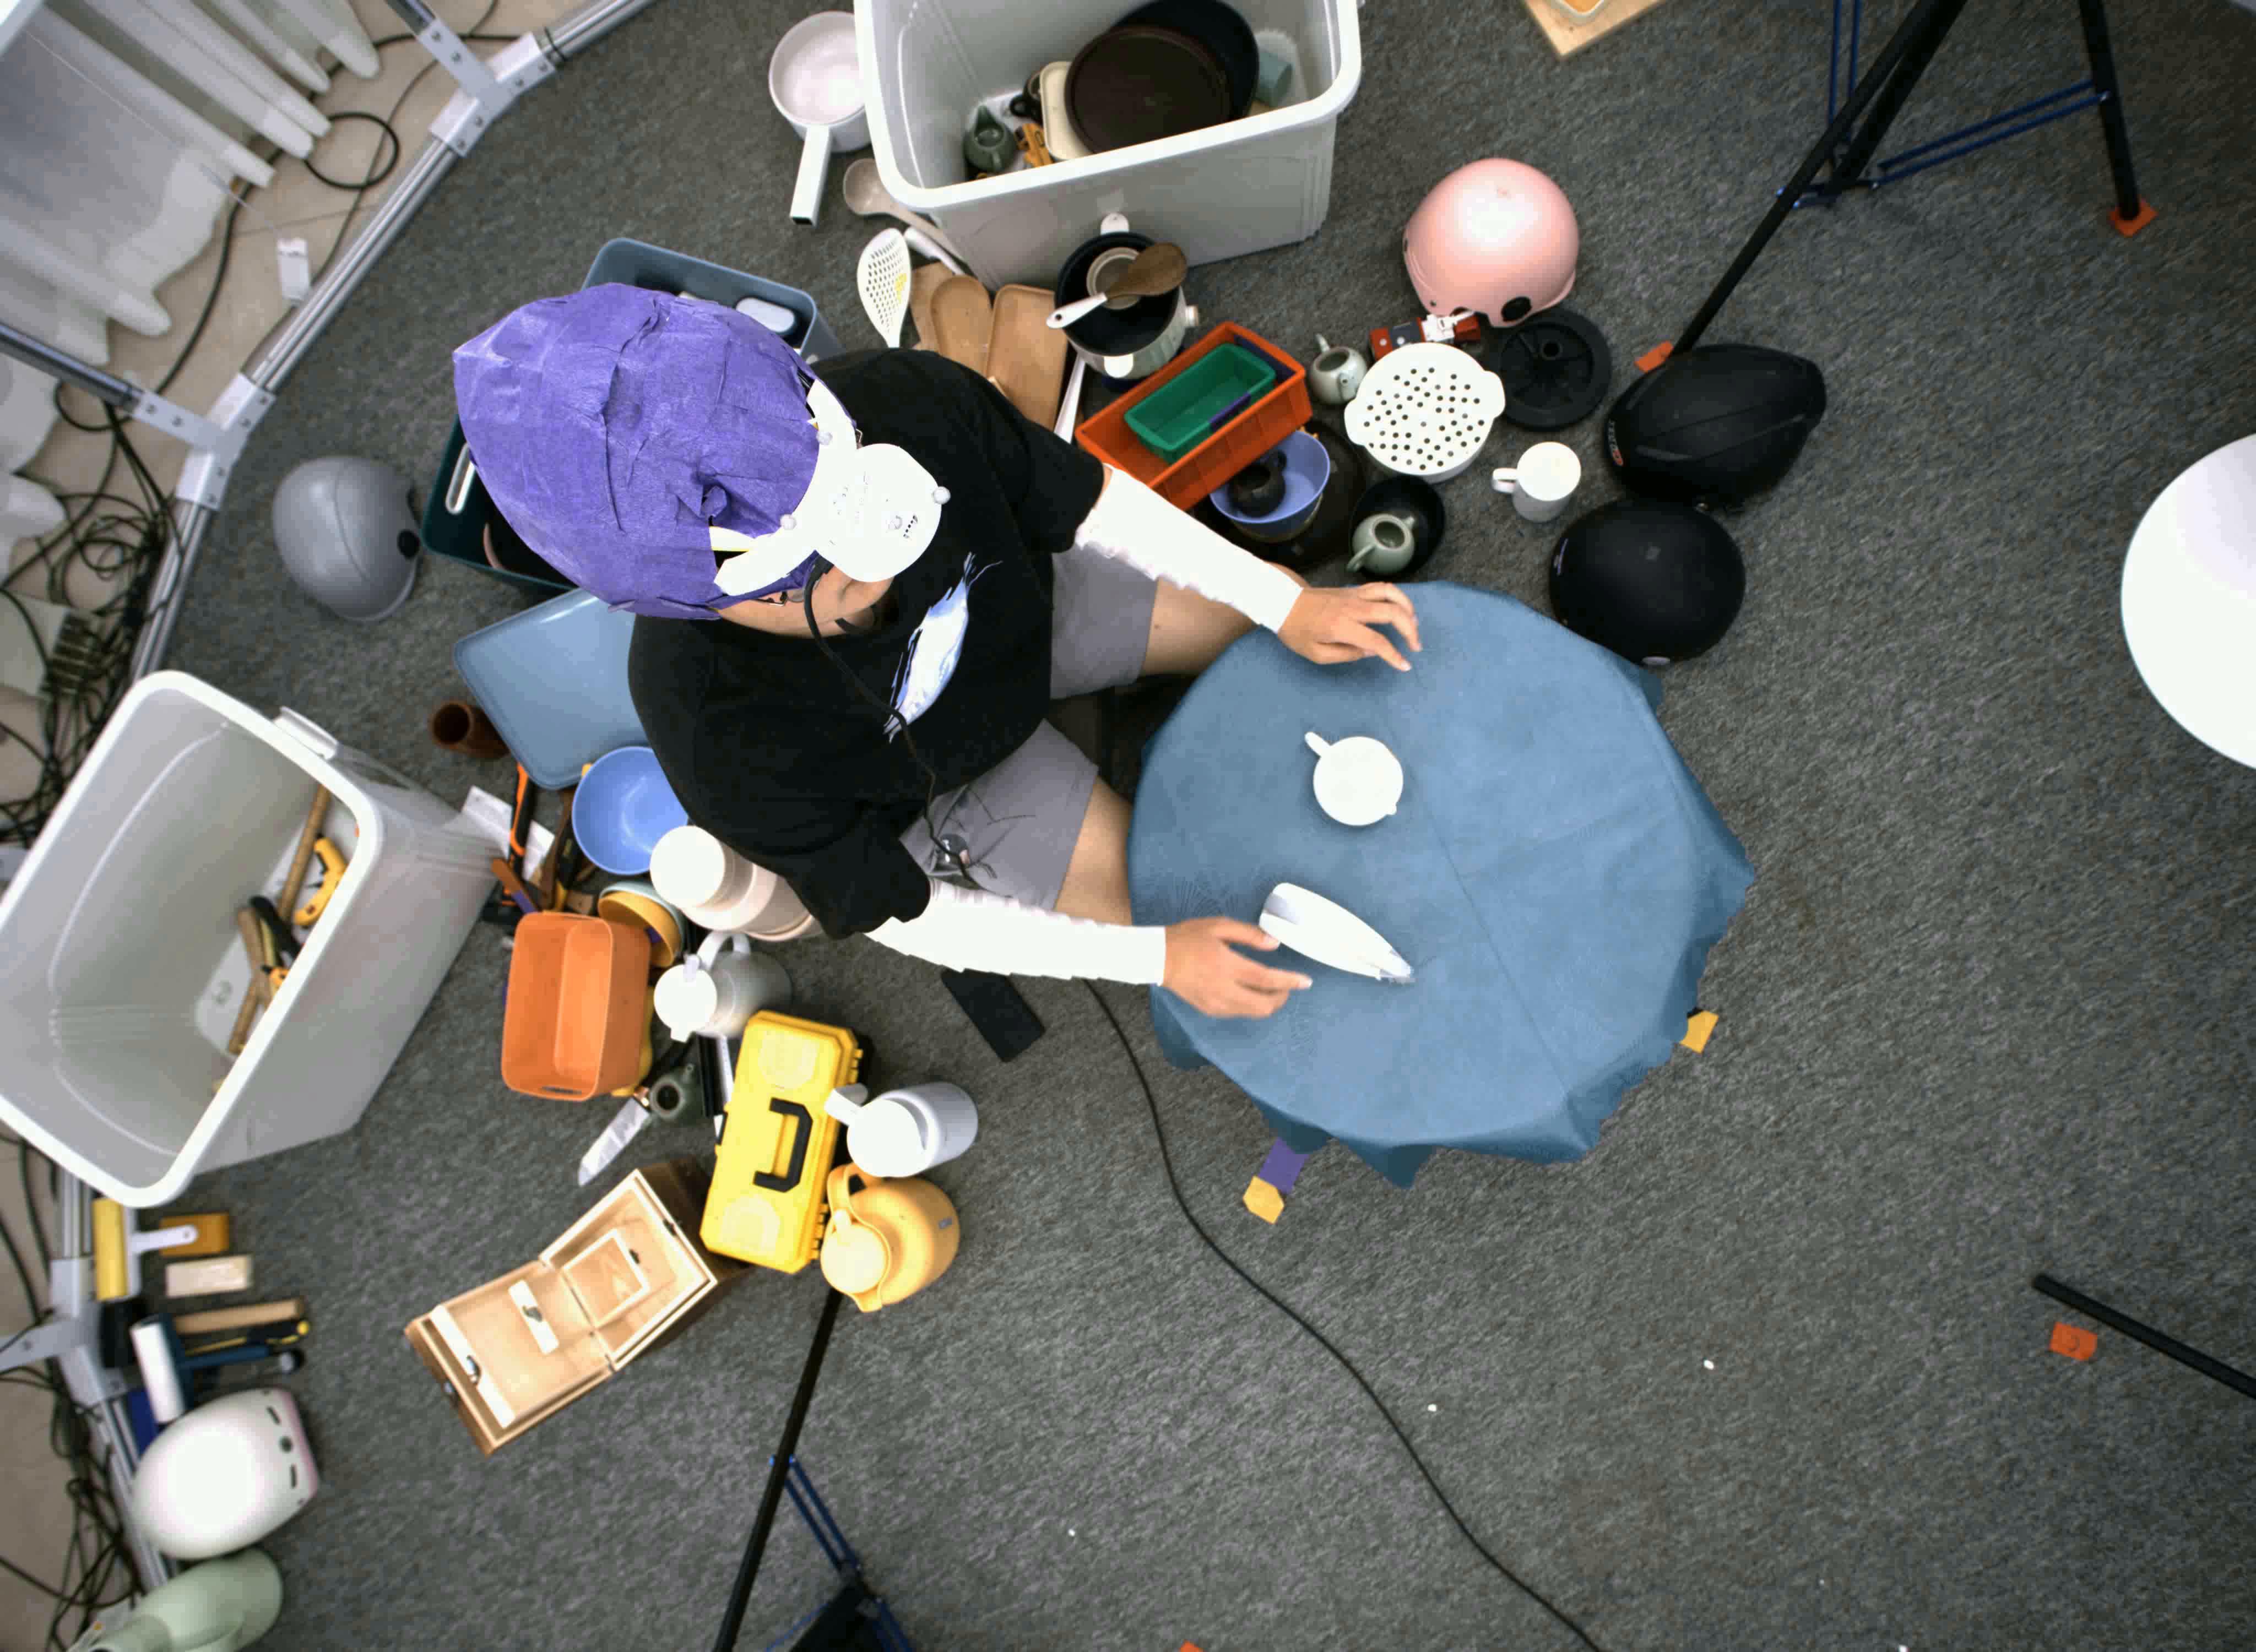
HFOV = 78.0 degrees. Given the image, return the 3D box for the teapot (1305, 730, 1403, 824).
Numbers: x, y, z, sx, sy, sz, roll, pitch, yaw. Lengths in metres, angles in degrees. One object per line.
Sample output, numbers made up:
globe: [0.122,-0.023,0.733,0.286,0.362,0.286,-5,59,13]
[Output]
teapot: [0.233,-0.057,1.445,0.127,0.056,0.094,41,98,12]

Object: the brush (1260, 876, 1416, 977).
brush: [0.217,0.111,1.420,0.175,0.094,0.061,28,92,9]
